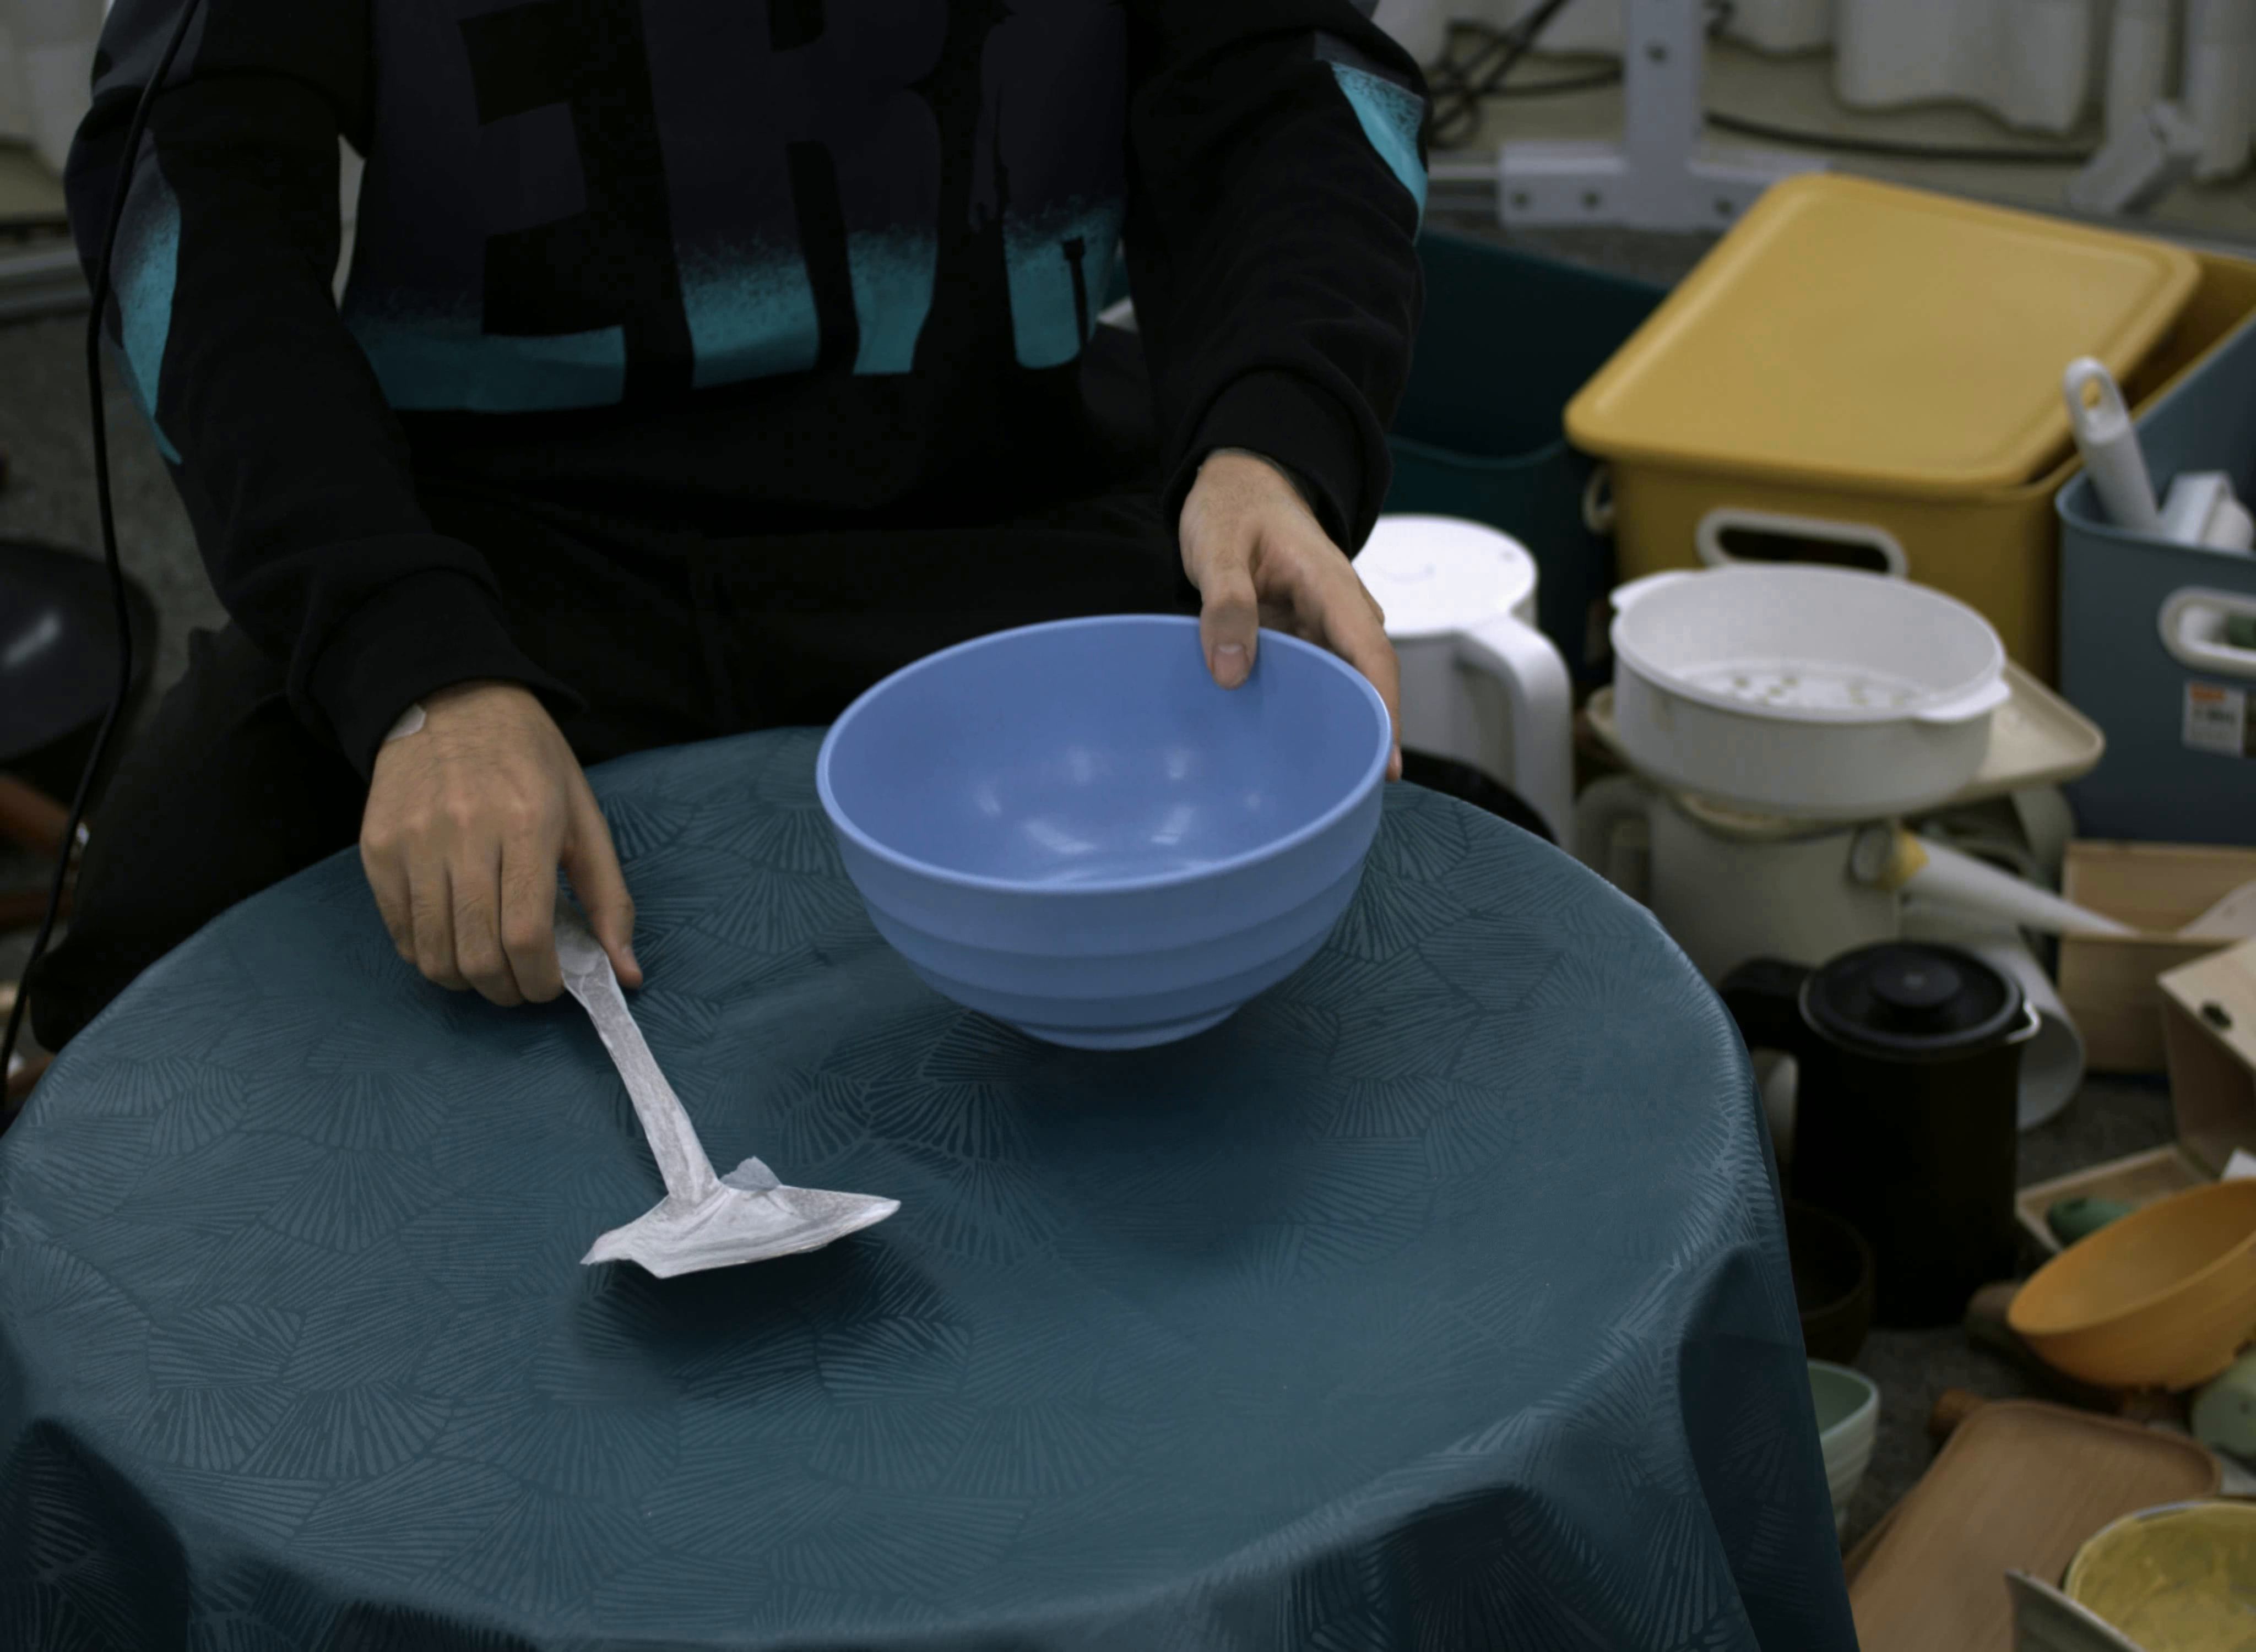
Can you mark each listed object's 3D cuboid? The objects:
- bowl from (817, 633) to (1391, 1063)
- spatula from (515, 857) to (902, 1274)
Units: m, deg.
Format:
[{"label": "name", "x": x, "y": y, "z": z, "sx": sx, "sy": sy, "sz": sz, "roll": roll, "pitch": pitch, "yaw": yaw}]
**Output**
[{"label": "bowl", "x": -0.003, "y": 0.018, "z": 1.920, "sx": 0.195, "sy": 0.094, "sz": 0.199, "roll": -5, "pitch": 26, "yaw": 3}, {"label": "spatula", "x": -0.167, "y": 0.074, "z": 1.928, "sx": 0.099, "sy": 0.044, "sz": 0.368, "roll": -13, "pitch": 29, "yaw": -14}]
